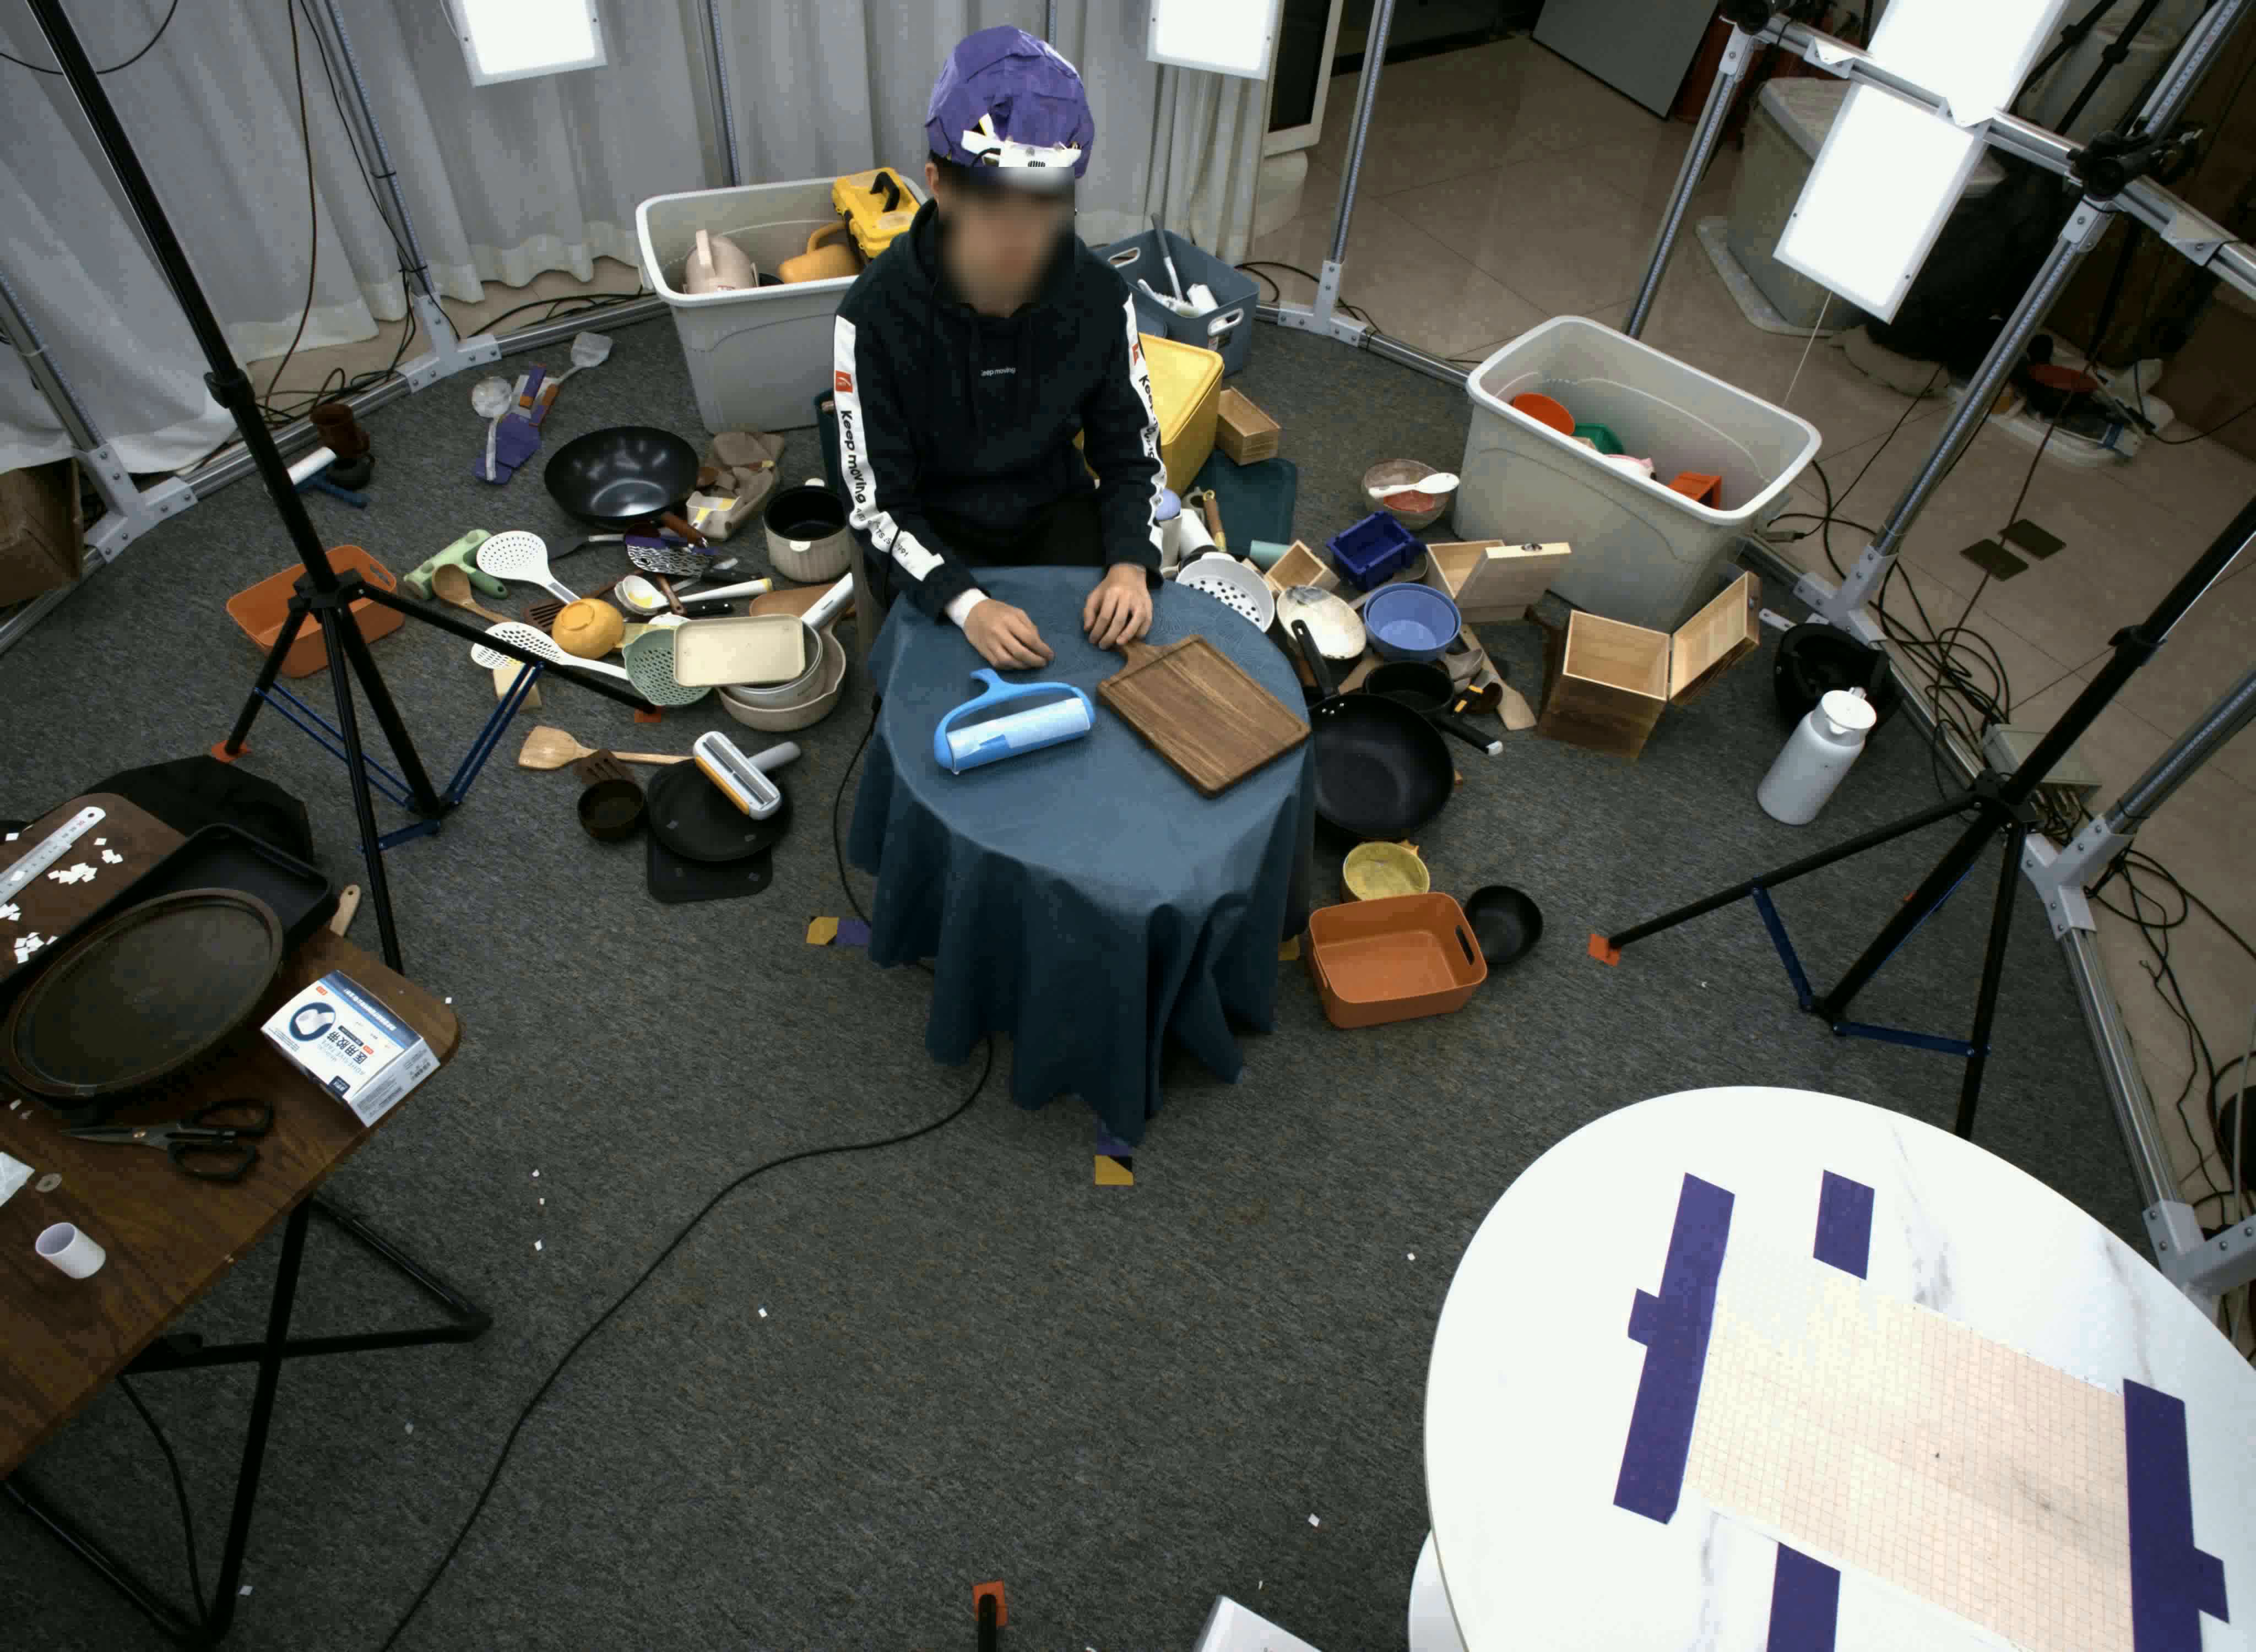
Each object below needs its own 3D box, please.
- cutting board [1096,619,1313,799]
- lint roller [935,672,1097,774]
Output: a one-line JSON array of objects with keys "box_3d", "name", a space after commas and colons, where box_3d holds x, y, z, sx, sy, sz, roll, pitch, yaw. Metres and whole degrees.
[{"box_3d": [0.074, -0.192, 1.824, 0.202, 0.022, 0.358, -30, 57, -27], "name": "cutting board"}, {"box_3d": [-0.176, -0.166, 1.763, 0.229, 0.066, 0.184, -20, 54, -18], "name": "lint roller"}]
